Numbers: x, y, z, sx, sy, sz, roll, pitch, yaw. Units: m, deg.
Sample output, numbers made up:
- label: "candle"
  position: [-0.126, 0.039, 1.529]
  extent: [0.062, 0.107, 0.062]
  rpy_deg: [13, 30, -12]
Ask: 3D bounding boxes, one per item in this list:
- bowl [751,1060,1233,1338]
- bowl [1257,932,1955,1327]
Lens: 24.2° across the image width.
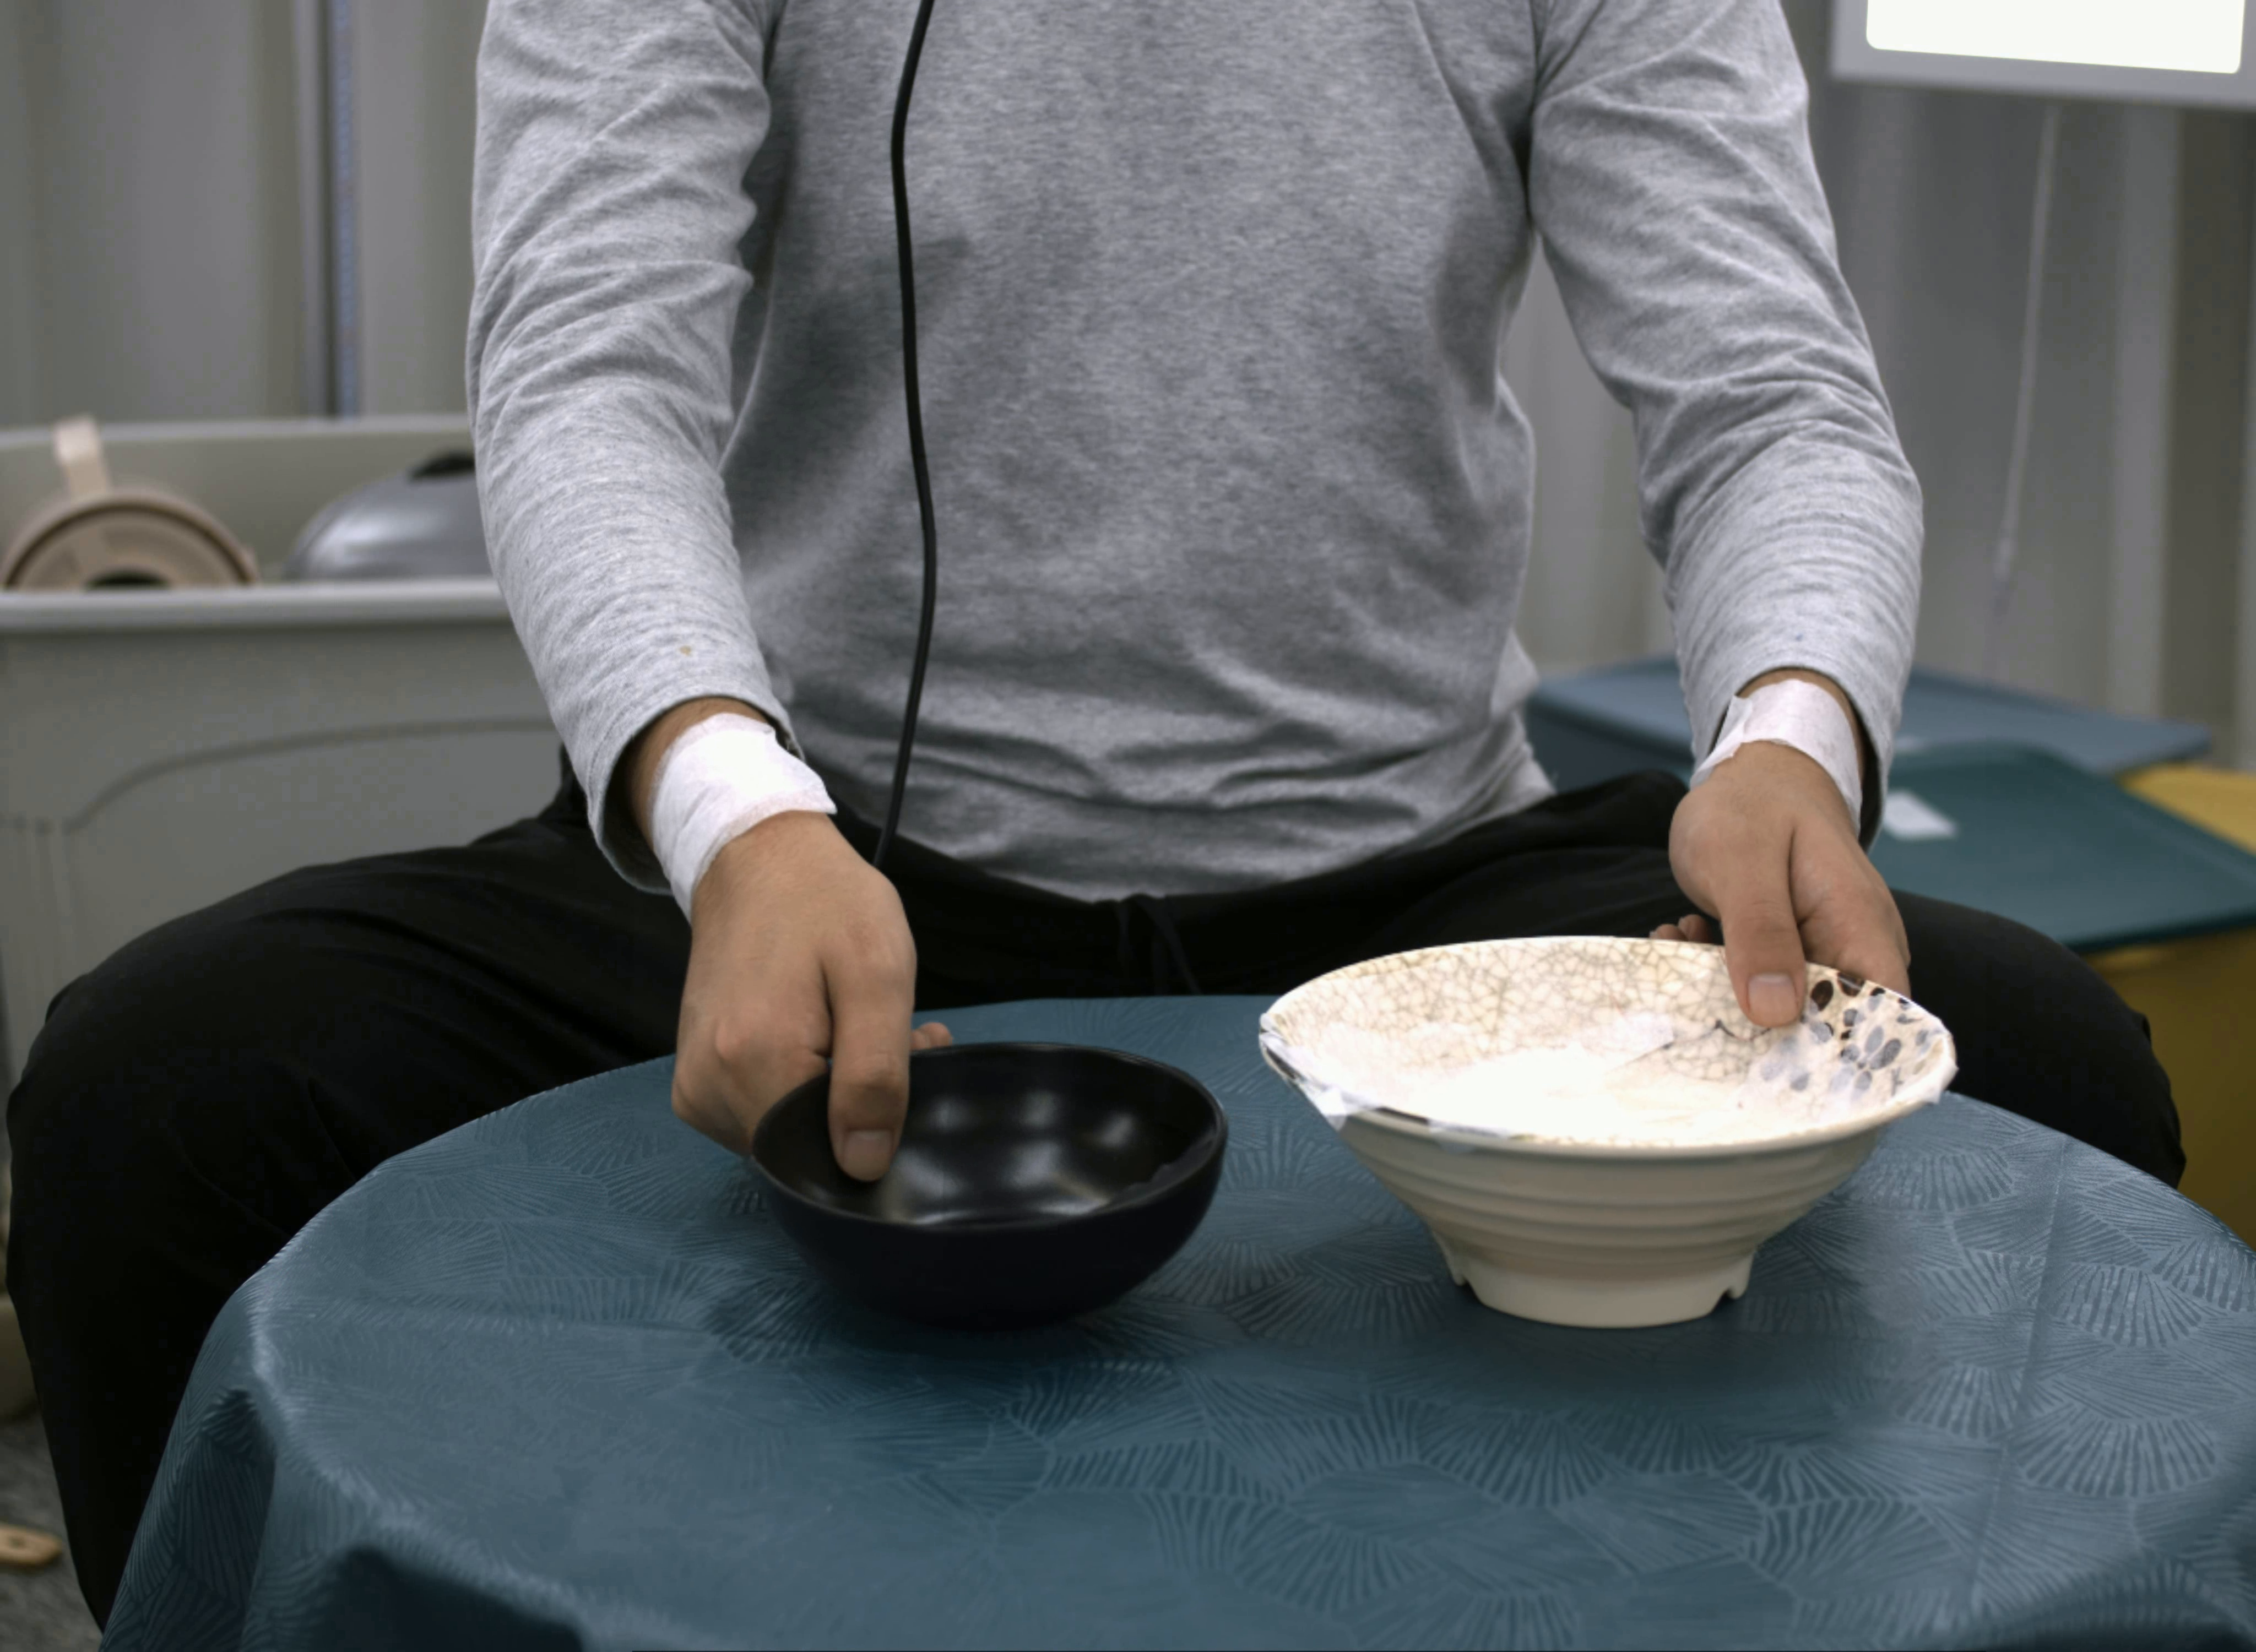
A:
- label: "bowl"
  position: [-0.039, 0.113, 1.522]
  extent: [0.139, 0.050, 0.139]
  rpy_deg: [0, 16, 1]
- label: "bowl"
  position: [0.138, 0.096, 1.542]
  extent: [0.203, 0.078, 0.203]
  rpy_deg: [1, 15, 0]
